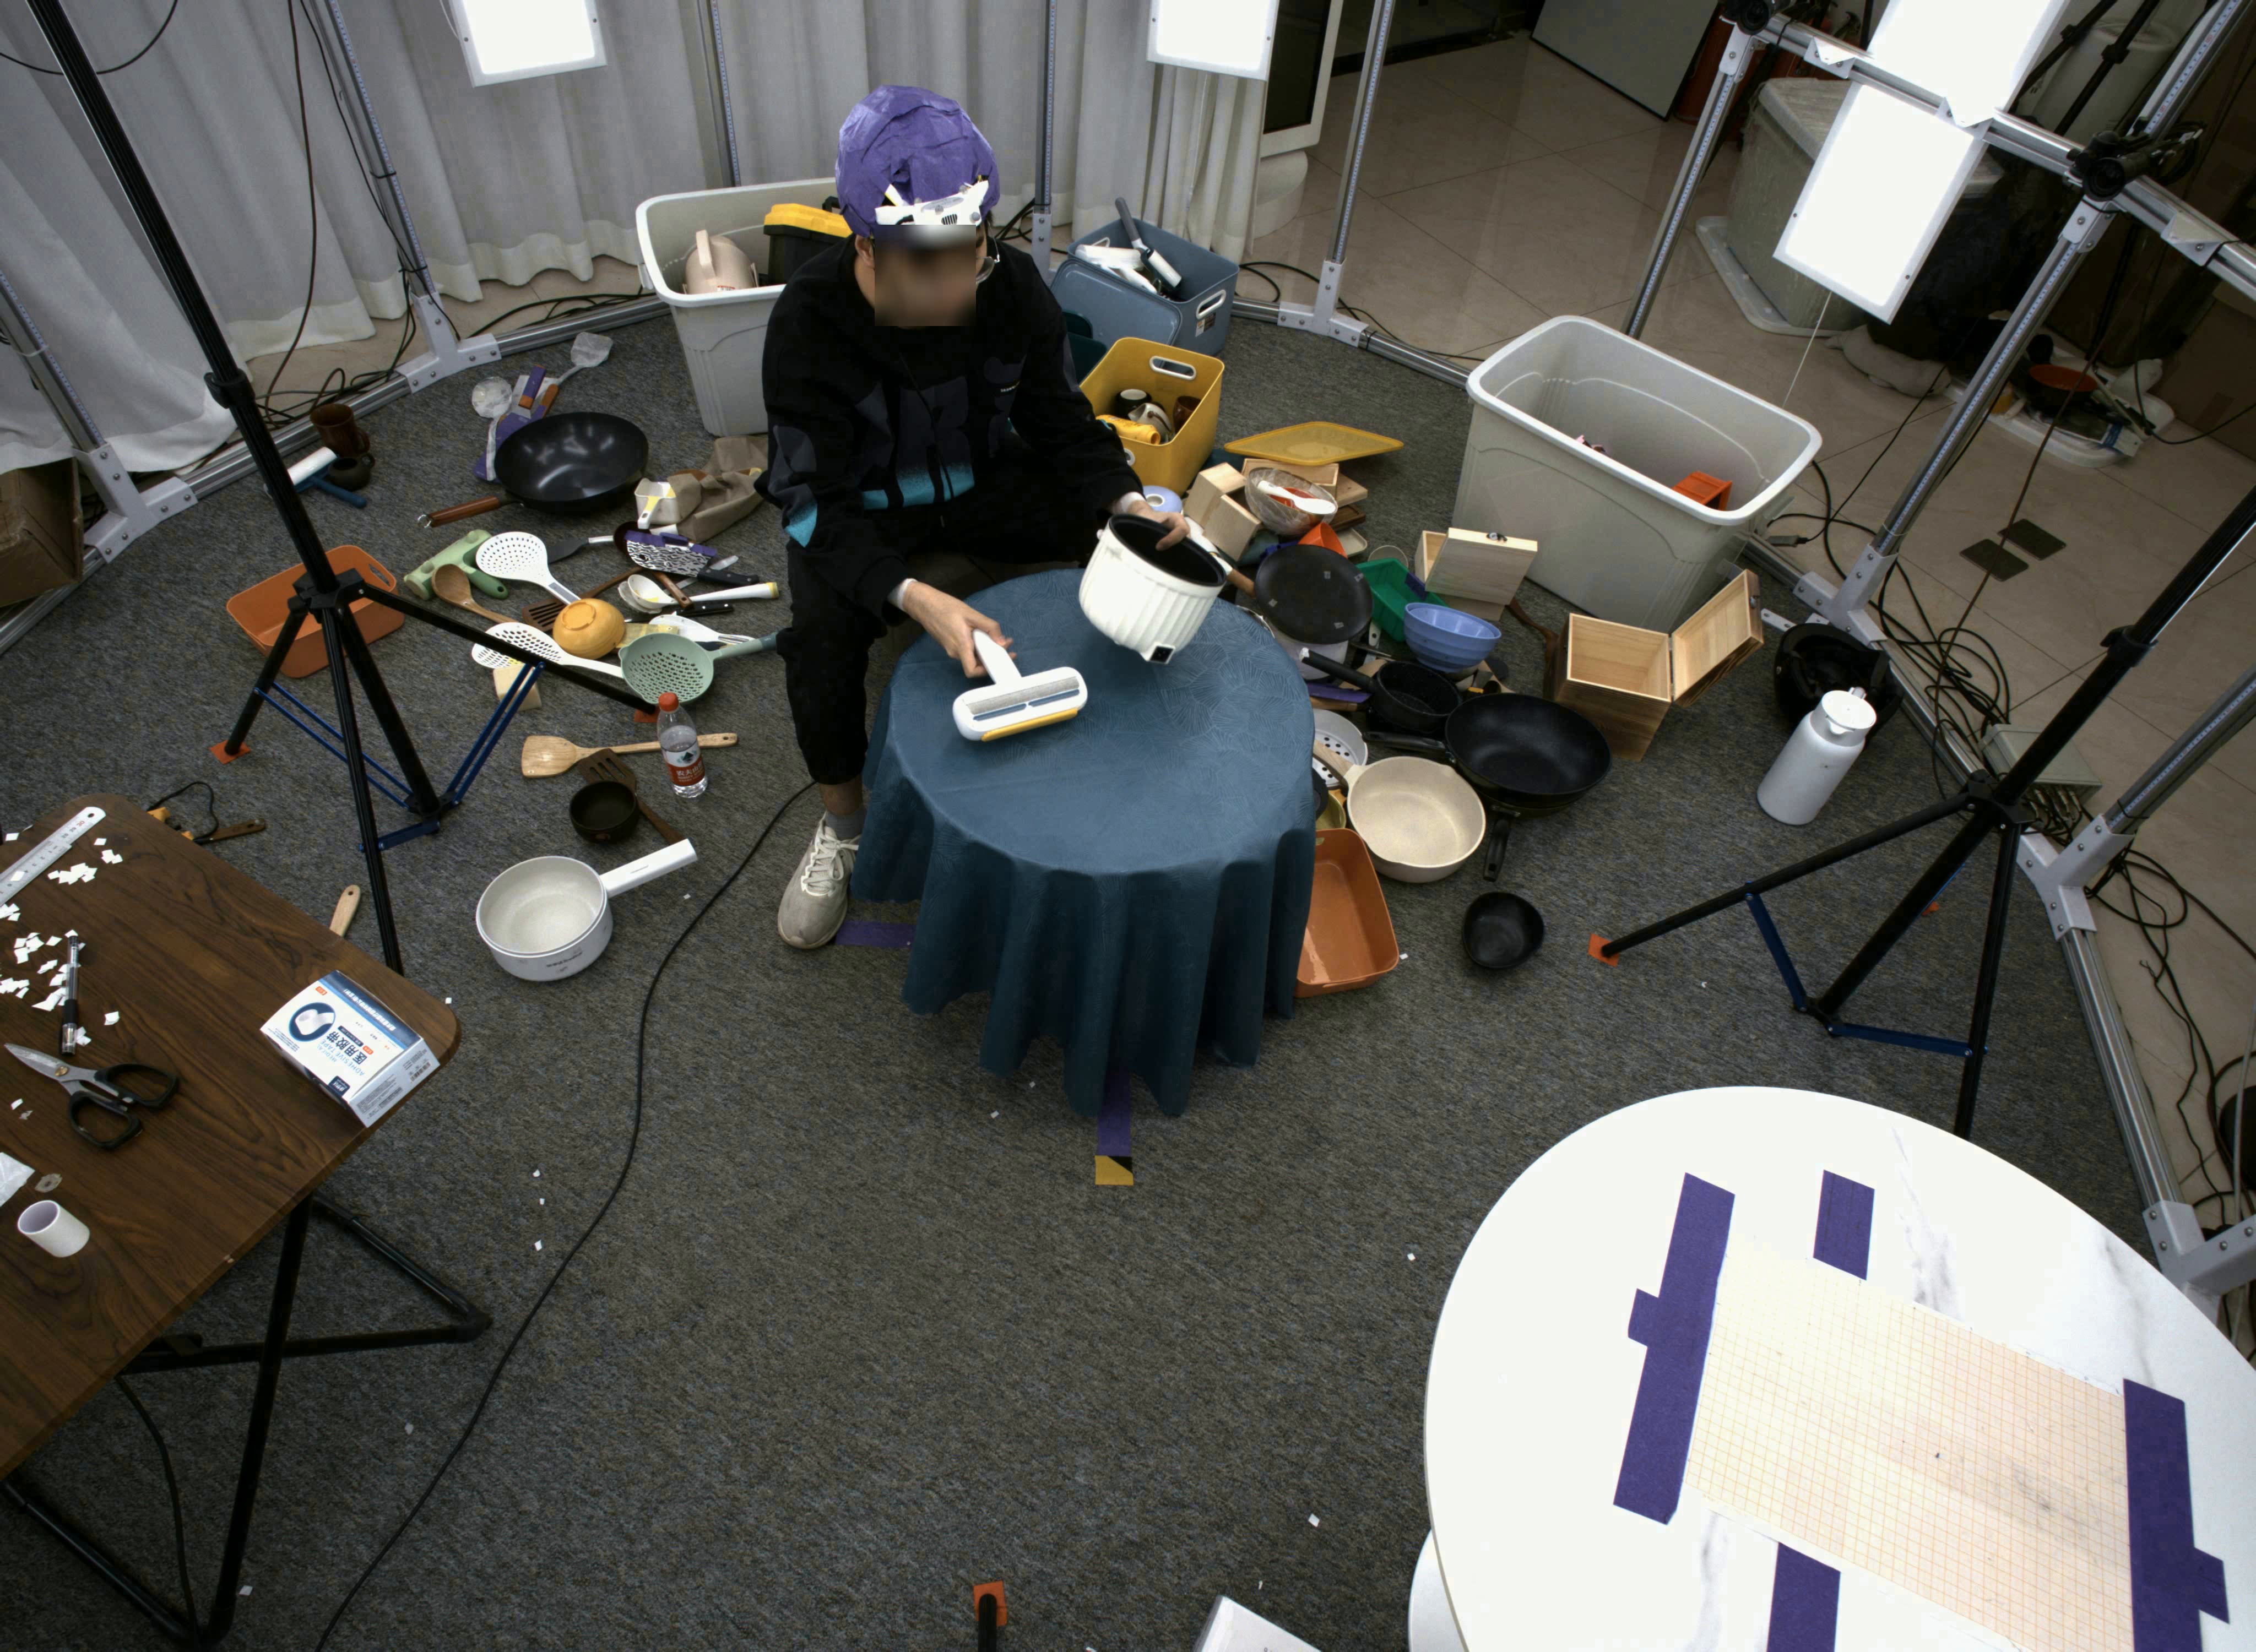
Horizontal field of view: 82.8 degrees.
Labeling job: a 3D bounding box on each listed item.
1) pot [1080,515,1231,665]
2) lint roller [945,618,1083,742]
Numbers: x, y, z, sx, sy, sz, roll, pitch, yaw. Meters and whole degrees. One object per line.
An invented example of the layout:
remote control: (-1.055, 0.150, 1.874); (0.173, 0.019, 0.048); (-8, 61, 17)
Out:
pot: (0.024, -0.332, 1.800); (0.239, 0.140, 0.195); (3, 40, -41)
lint roller: (-0.175, -0.214, 1.776); (0.193, 0.073, 0.195); (-15, 70, -19)
